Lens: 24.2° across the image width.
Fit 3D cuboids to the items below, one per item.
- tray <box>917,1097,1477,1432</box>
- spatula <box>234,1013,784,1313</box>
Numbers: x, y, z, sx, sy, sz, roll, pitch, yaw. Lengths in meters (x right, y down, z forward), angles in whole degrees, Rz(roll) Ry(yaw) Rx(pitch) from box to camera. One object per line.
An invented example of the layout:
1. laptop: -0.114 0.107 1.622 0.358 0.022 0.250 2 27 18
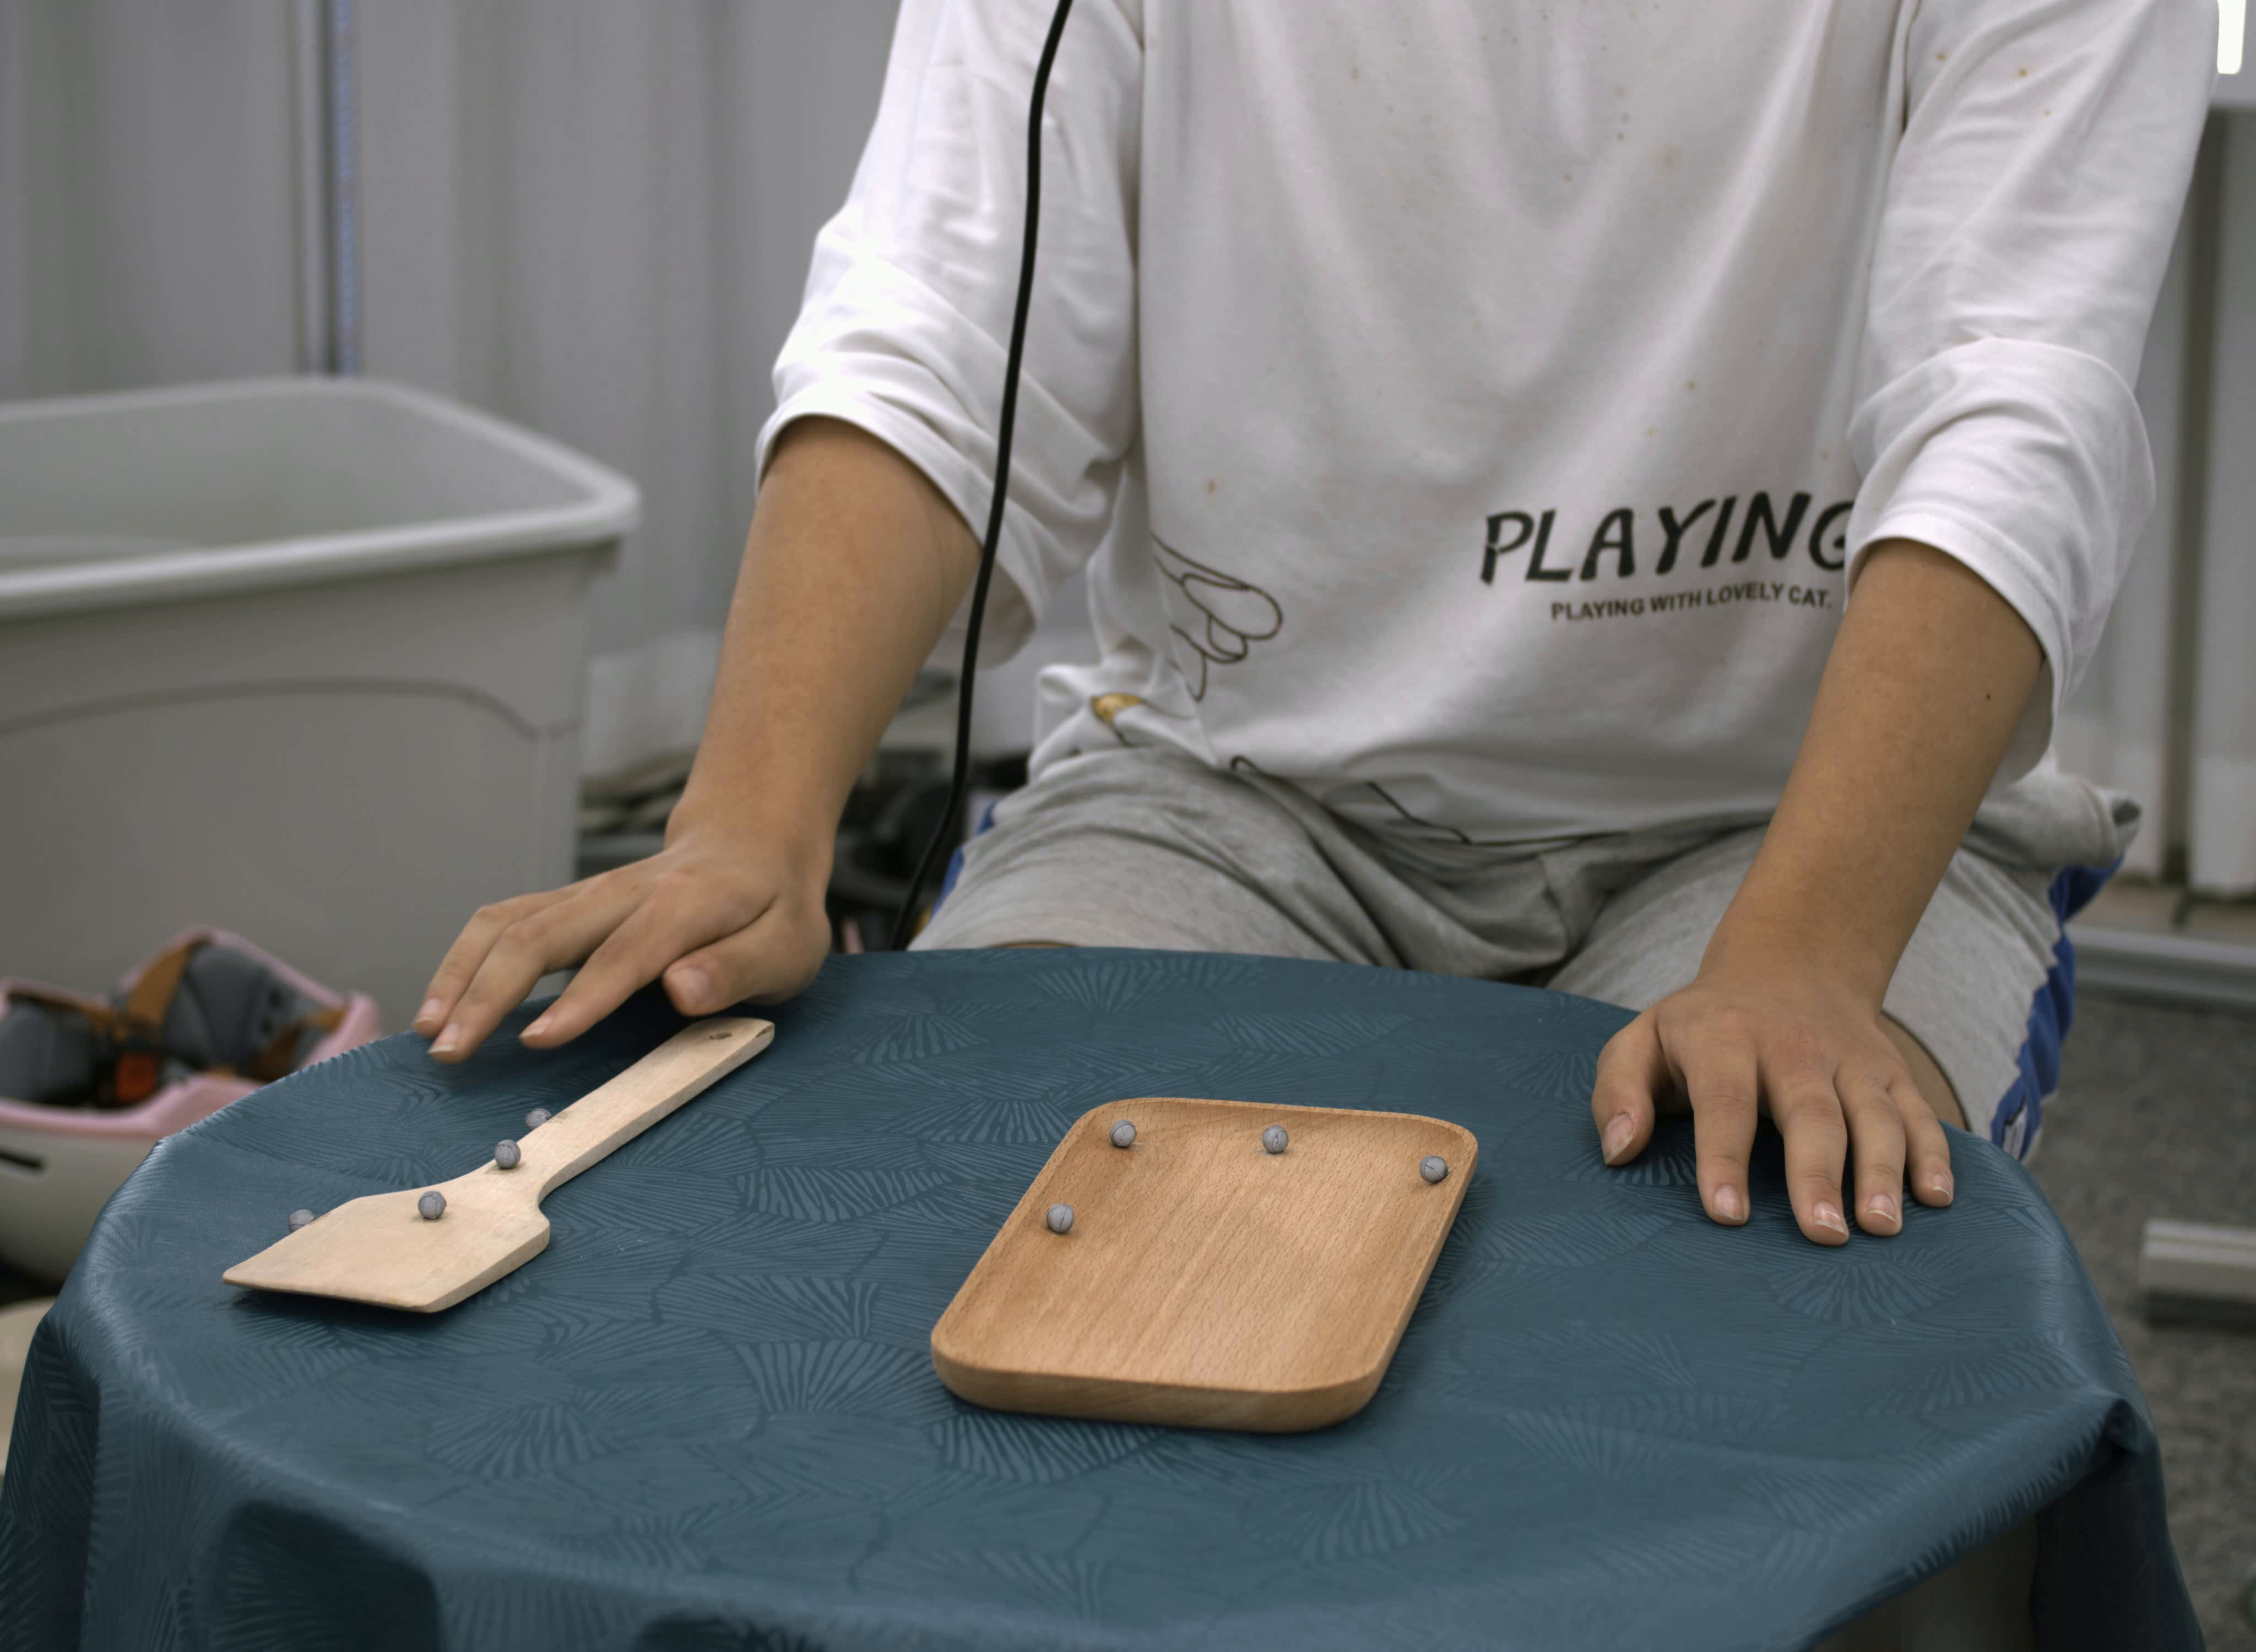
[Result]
1. tray: 0.025 0.126 1.550 0.129 0.023 0.250 2 15 13
2. spatula: -0.178 0.101 1.642 0.071 0.011 0.293 5 16 20
